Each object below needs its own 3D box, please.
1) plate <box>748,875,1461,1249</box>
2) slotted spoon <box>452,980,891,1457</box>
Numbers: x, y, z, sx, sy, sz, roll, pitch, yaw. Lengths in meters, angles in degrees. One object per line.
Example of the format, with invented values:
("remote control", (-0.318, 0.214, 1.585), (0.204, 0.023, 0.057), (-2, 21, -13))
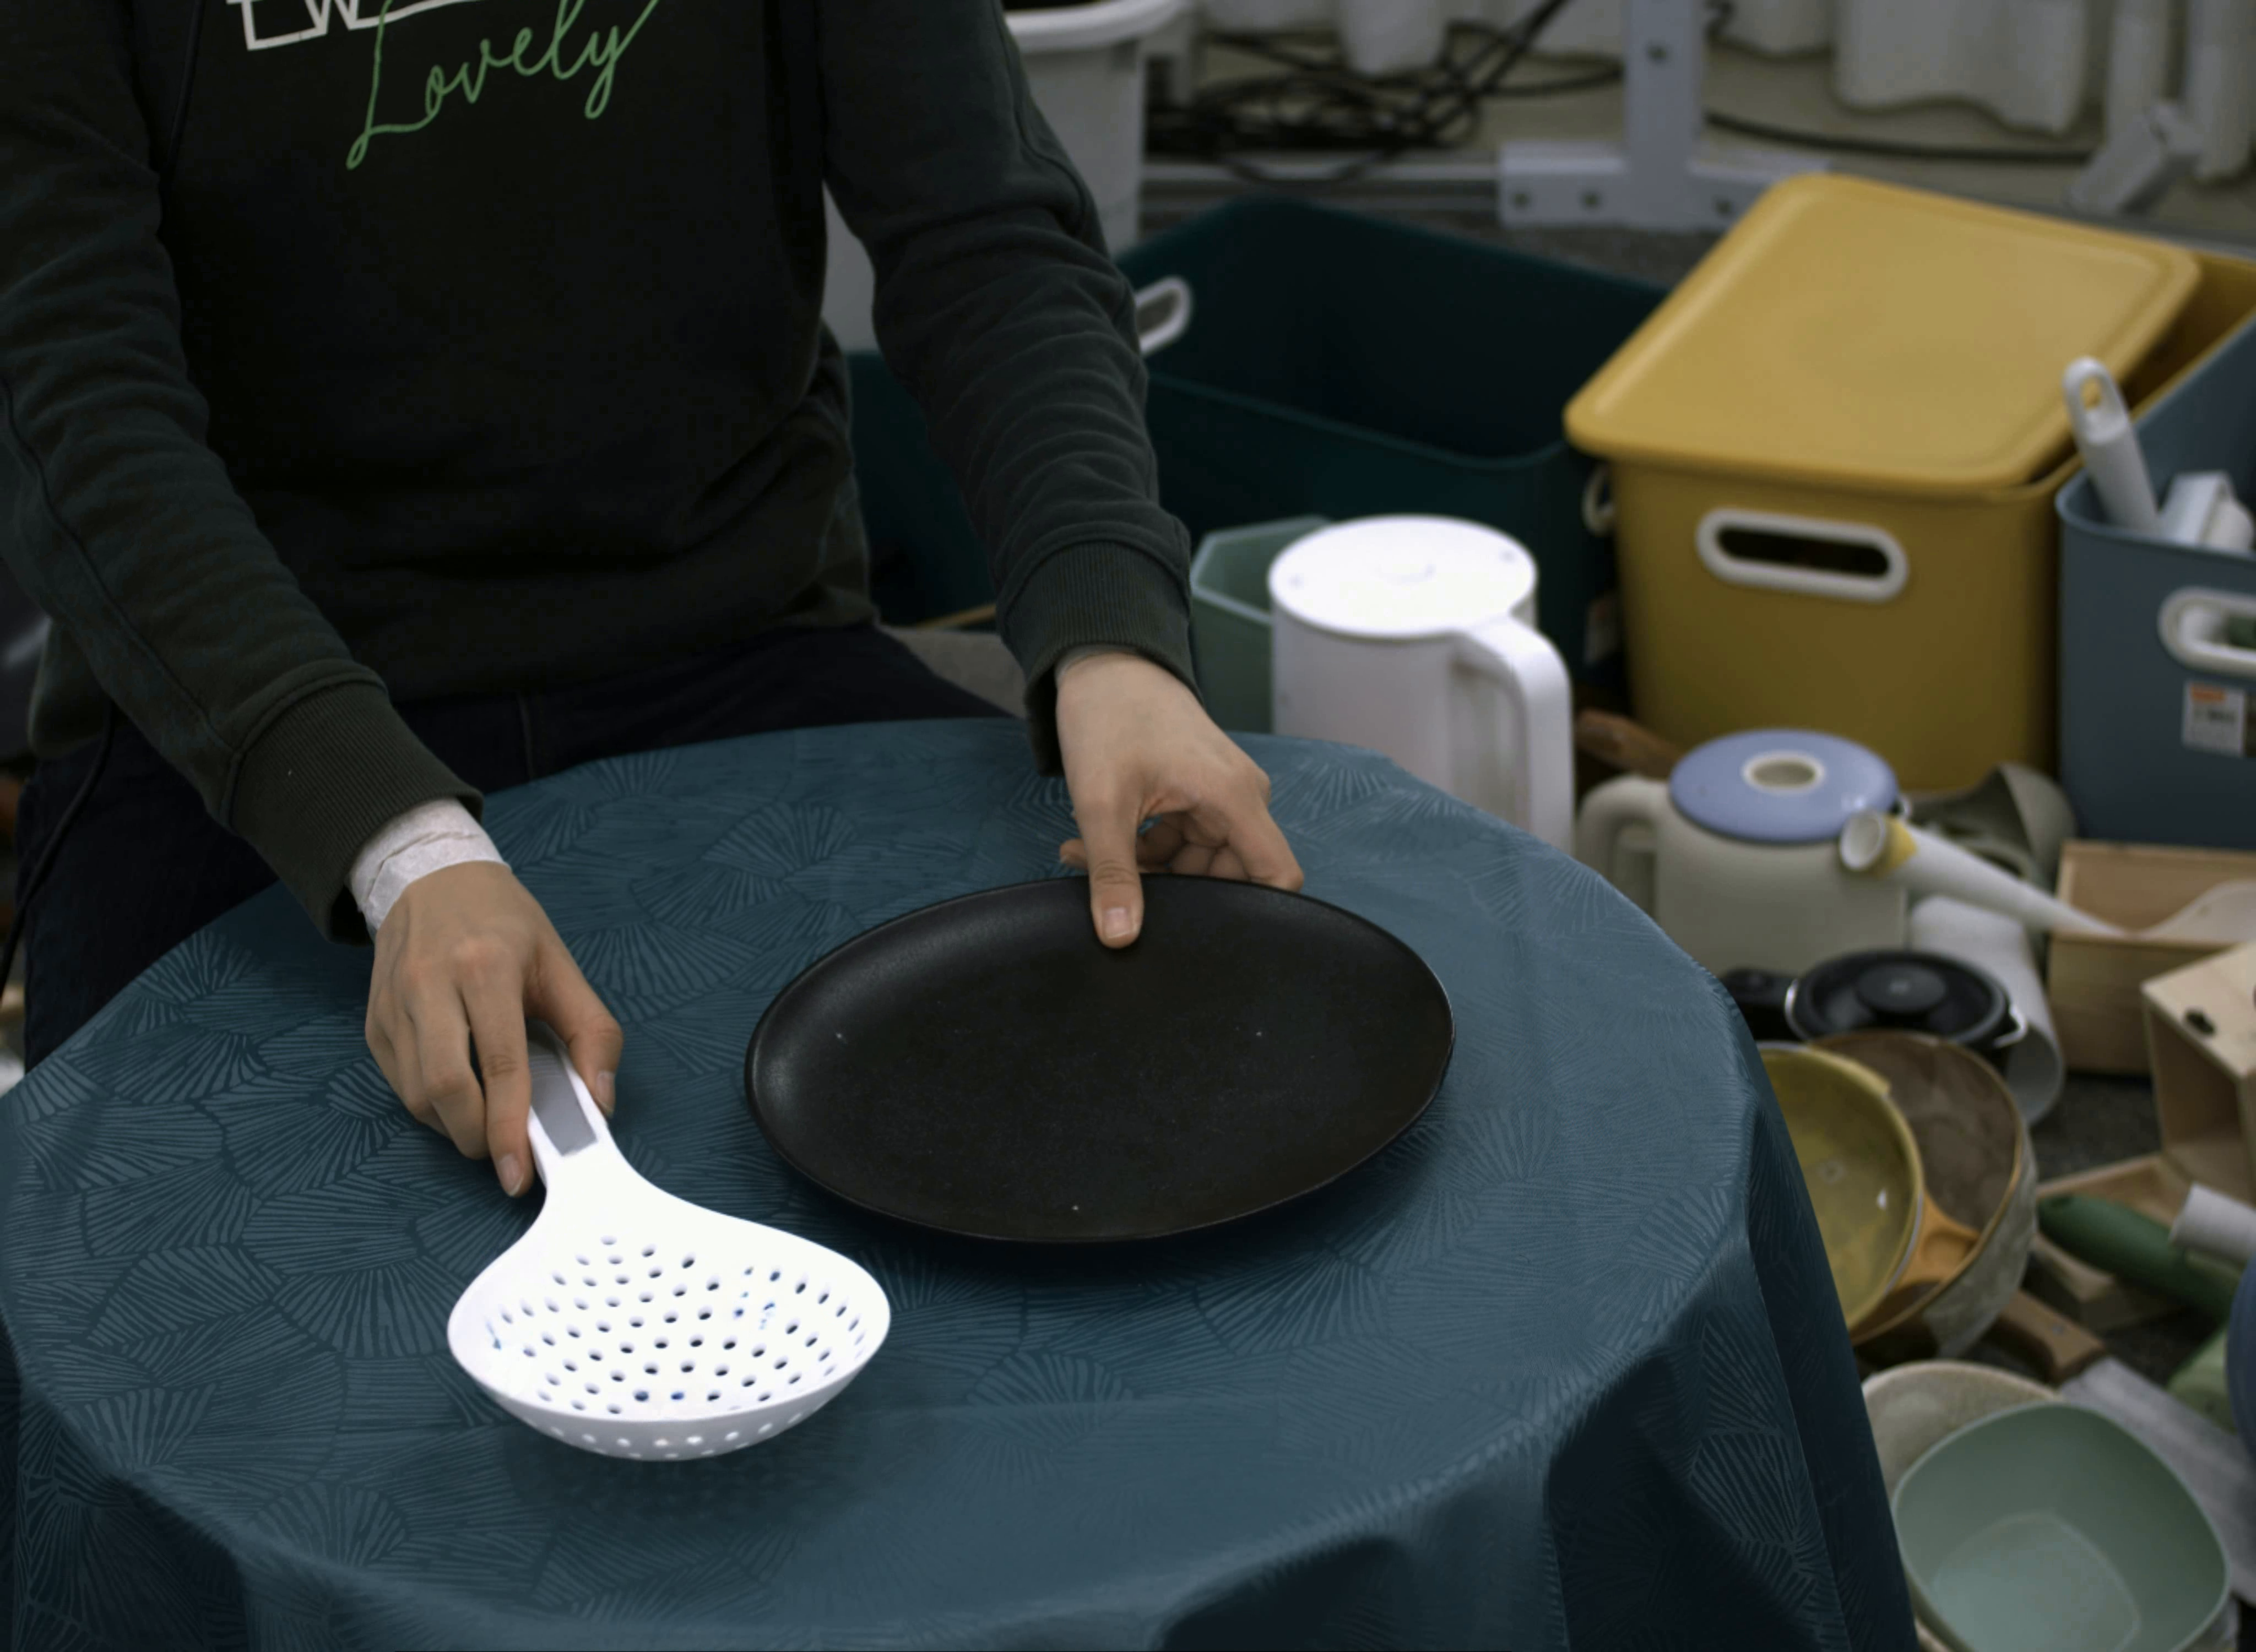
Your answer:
("plate", (-0.008, 0.084, 1.907), (0.243, 0.023, 0.248), (-3, 28, 2))
("slotted spoon", (-0.173, 0.121, 1.830), (0.136, 0.045, 0.353), (-4, 25, -17))
